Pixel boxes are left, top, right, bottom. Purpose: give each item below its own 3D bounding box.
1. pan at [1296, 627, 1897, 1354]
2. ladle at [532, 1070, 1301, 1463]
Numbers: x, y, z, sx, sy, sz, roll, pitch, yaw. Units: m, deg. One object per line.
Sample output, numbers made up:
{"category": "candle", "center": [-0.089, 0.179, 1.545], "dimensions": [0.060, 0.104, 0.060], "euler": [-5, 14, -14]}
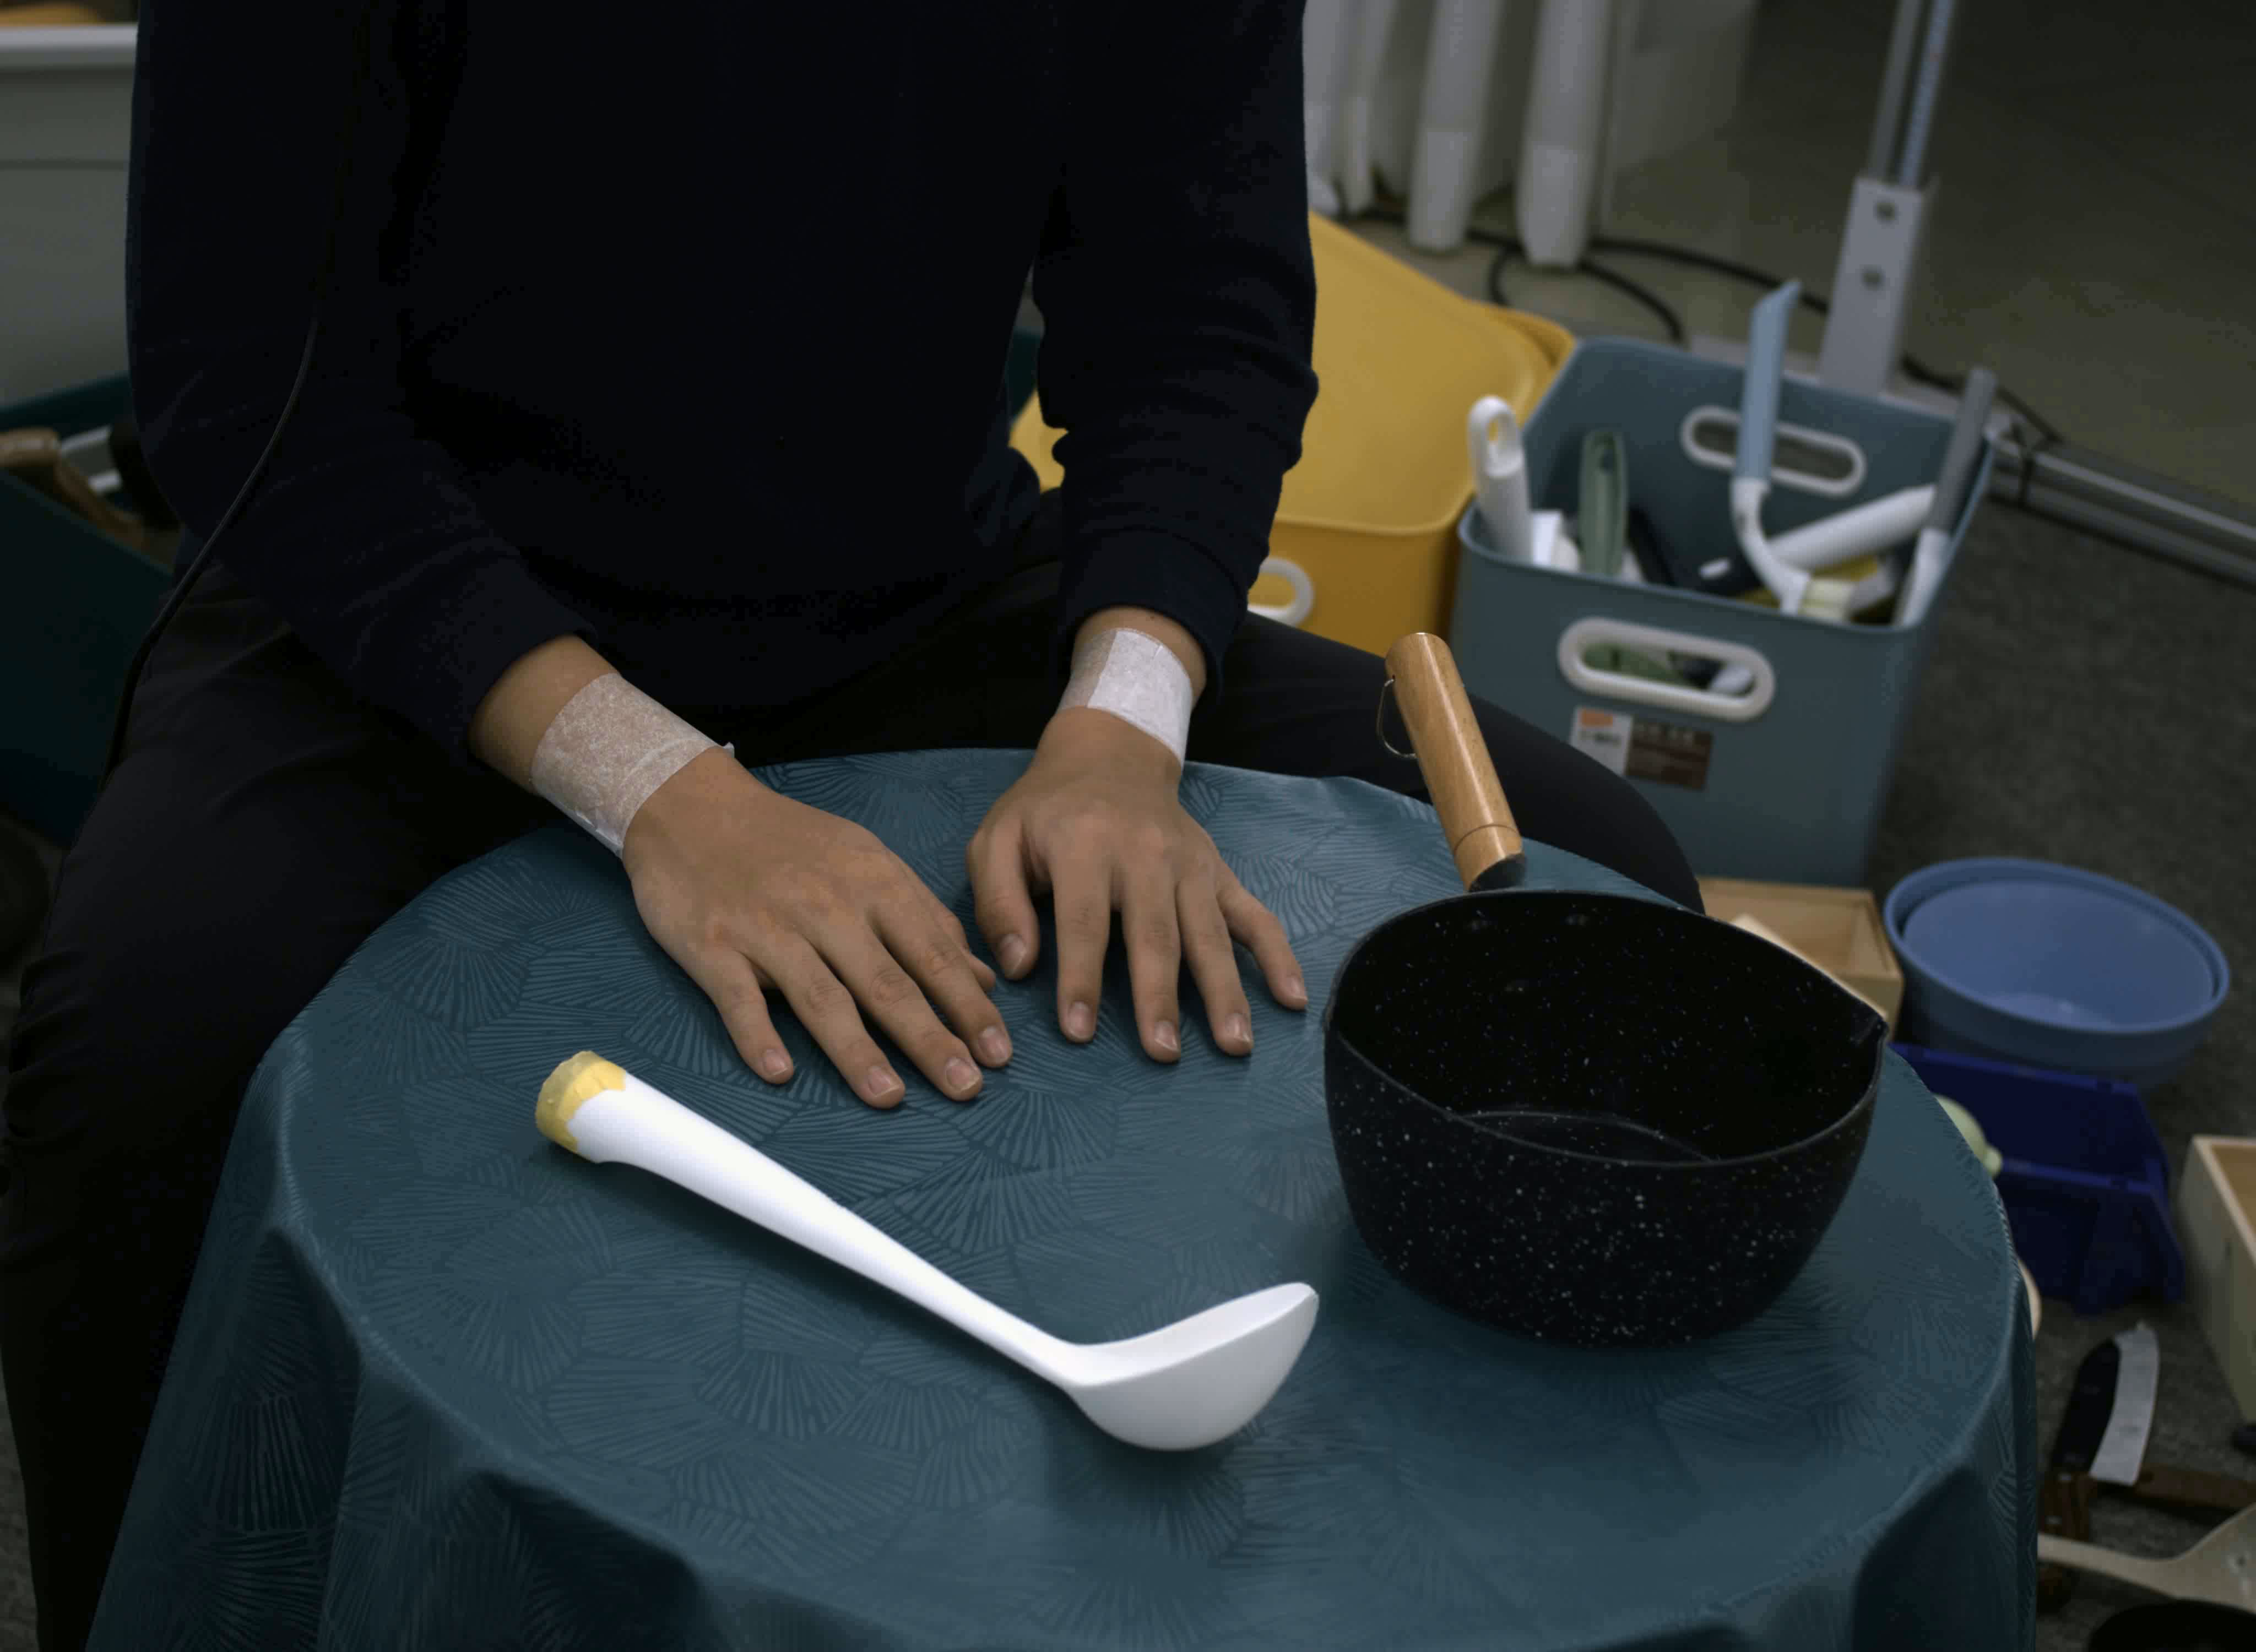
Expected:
{"category": "pan", "center": [0.137, 0.054, 1.851], "dimensions": [0.206, 0.108, 0.346], "euler": [-2, 29, -14]}
{"category": "ladle", "center": [-0.076, 0.129, 1.705], "dimensions": [0.295, 0.069, 0.090], "euler": [24, 36, 32]}
